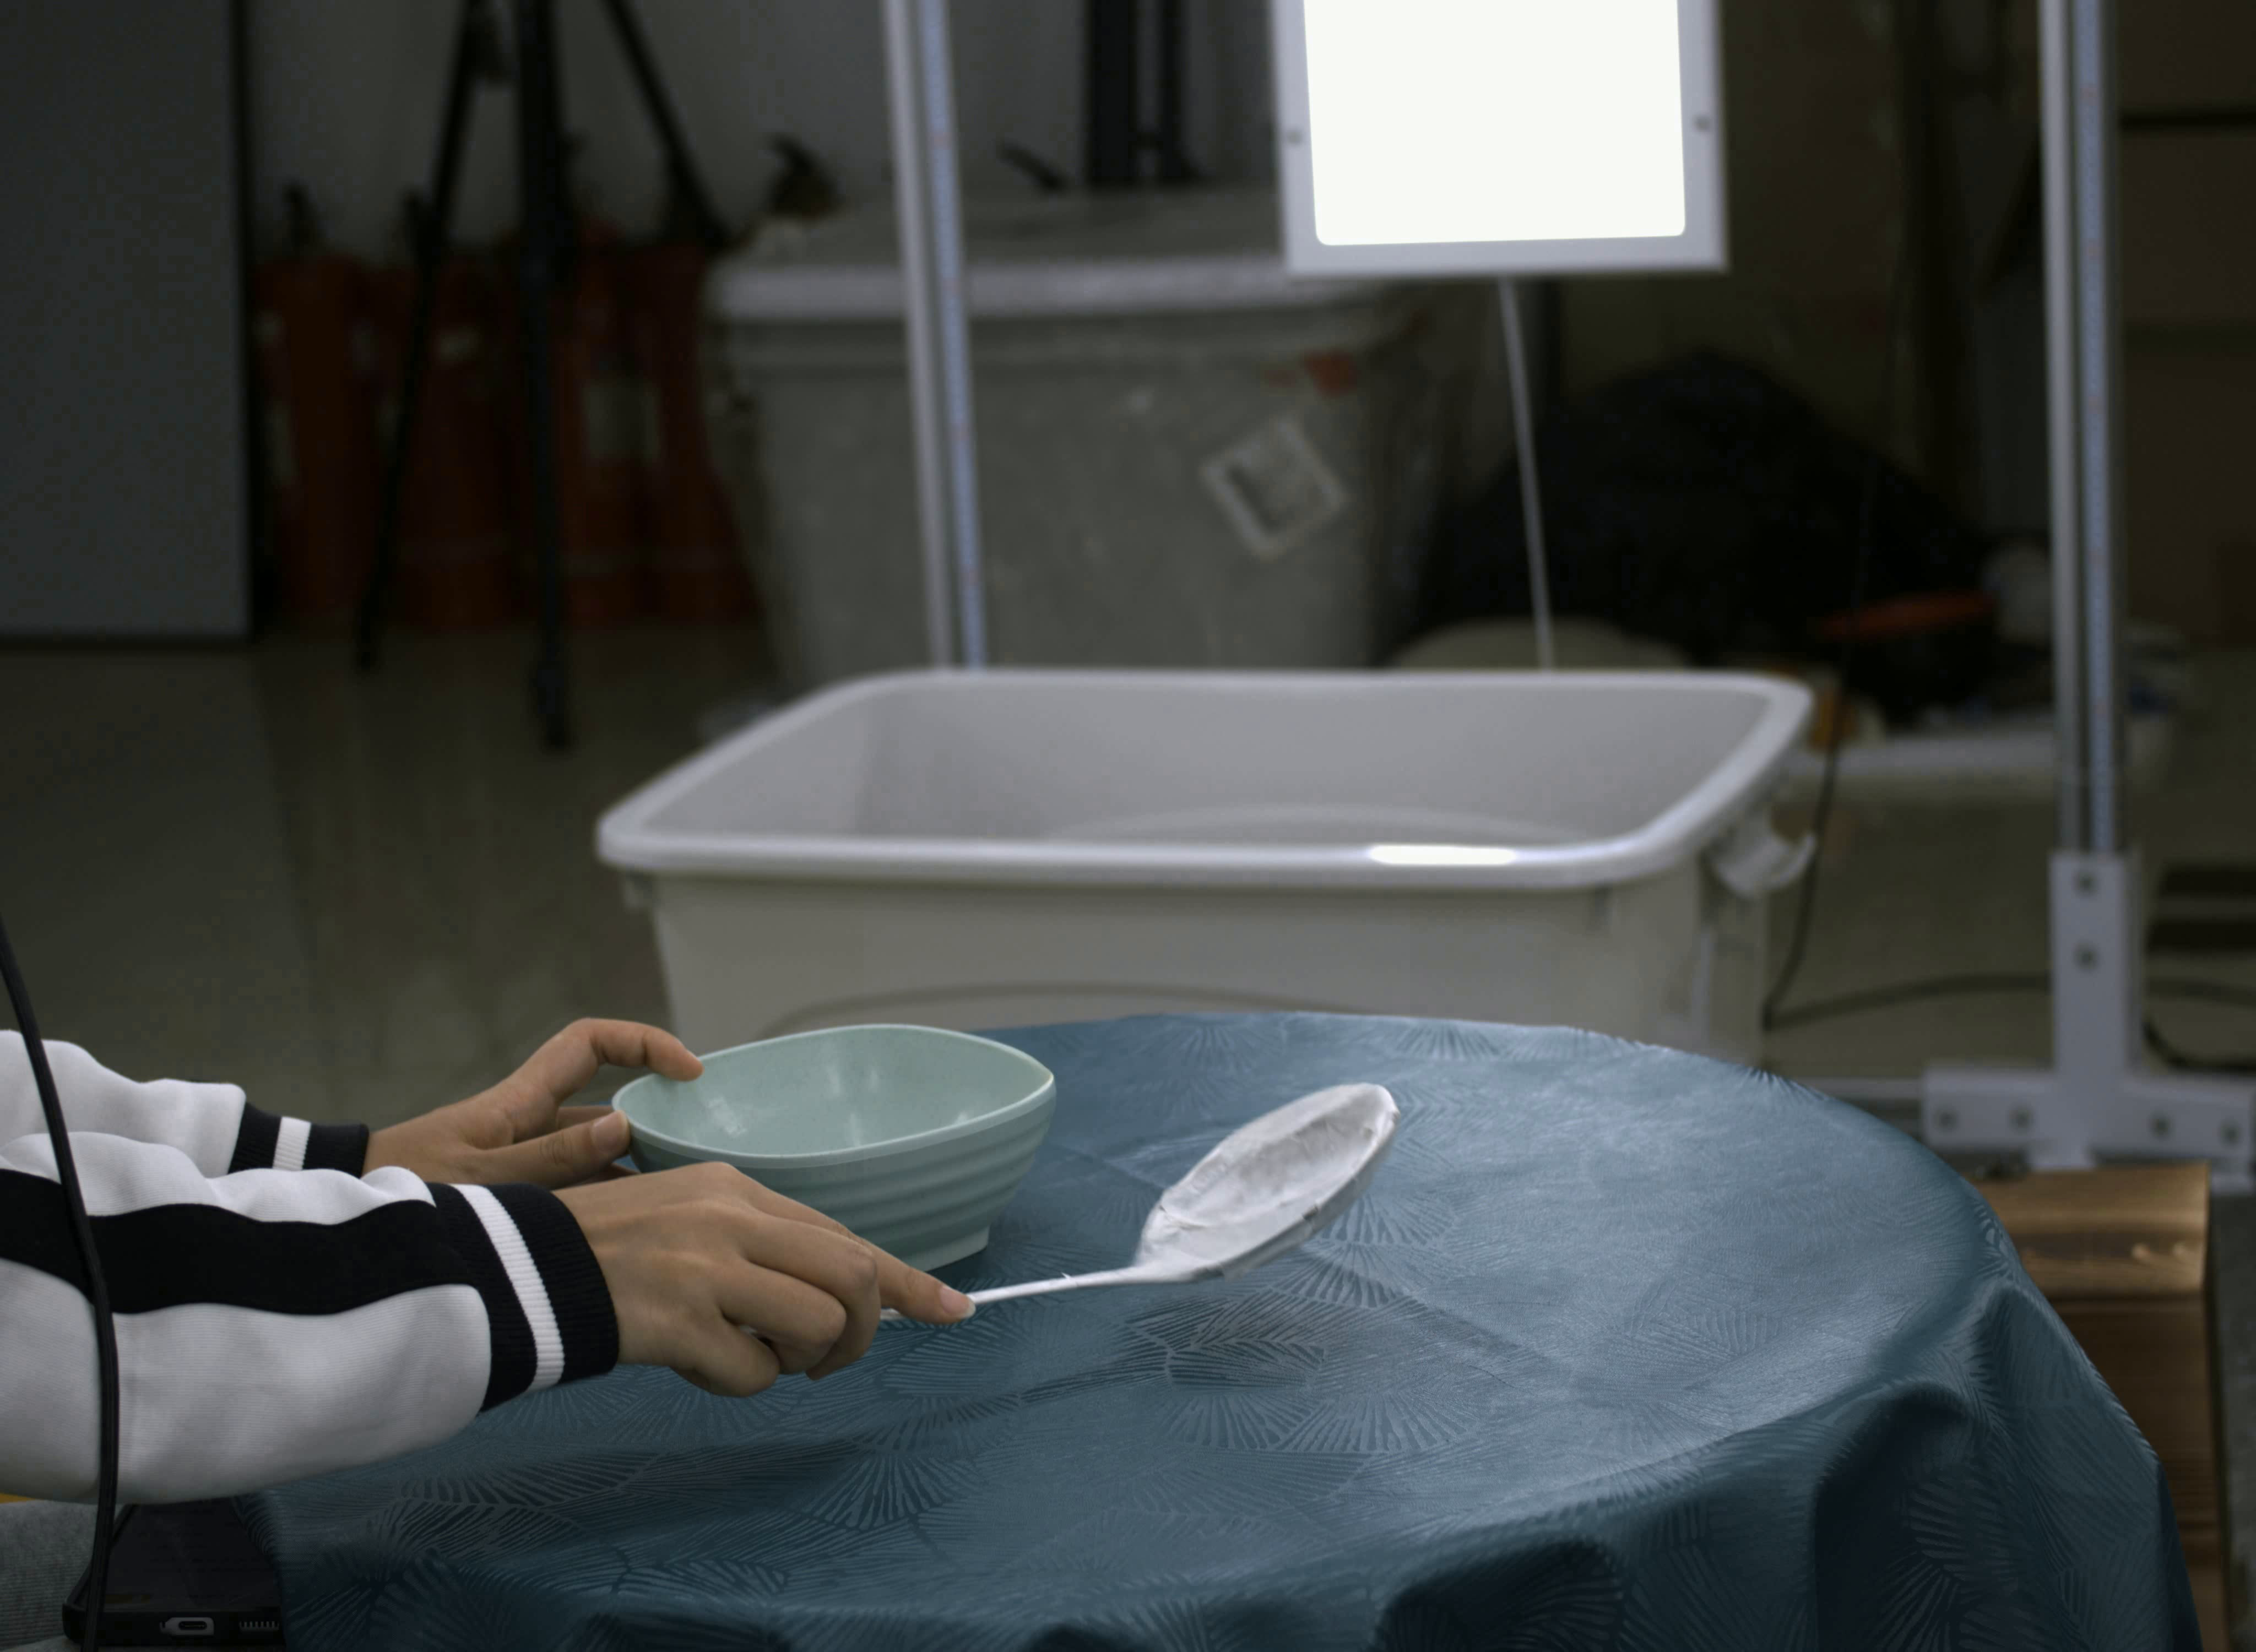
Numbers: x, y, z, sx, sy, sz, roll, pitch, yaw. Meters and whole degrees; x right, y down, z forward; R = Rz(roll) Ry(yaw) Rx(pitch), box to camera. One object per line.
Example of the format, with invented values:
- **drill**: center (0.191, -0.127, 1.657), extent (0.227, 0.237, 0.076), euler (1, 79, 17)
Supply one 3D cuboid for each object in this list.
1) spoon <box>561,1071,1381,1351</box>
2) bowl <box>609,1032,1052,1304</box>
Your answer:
- **spoon**: center (-0.048, 0.118, 1.702), extent (0.272, 0.059, 0.102), euler (-5, -3, -23)
- **bowl**: center (-0.098, 0.118, 1.858), extent (0.151, 0.059, 0.151), euler (-5, 14, 0)
